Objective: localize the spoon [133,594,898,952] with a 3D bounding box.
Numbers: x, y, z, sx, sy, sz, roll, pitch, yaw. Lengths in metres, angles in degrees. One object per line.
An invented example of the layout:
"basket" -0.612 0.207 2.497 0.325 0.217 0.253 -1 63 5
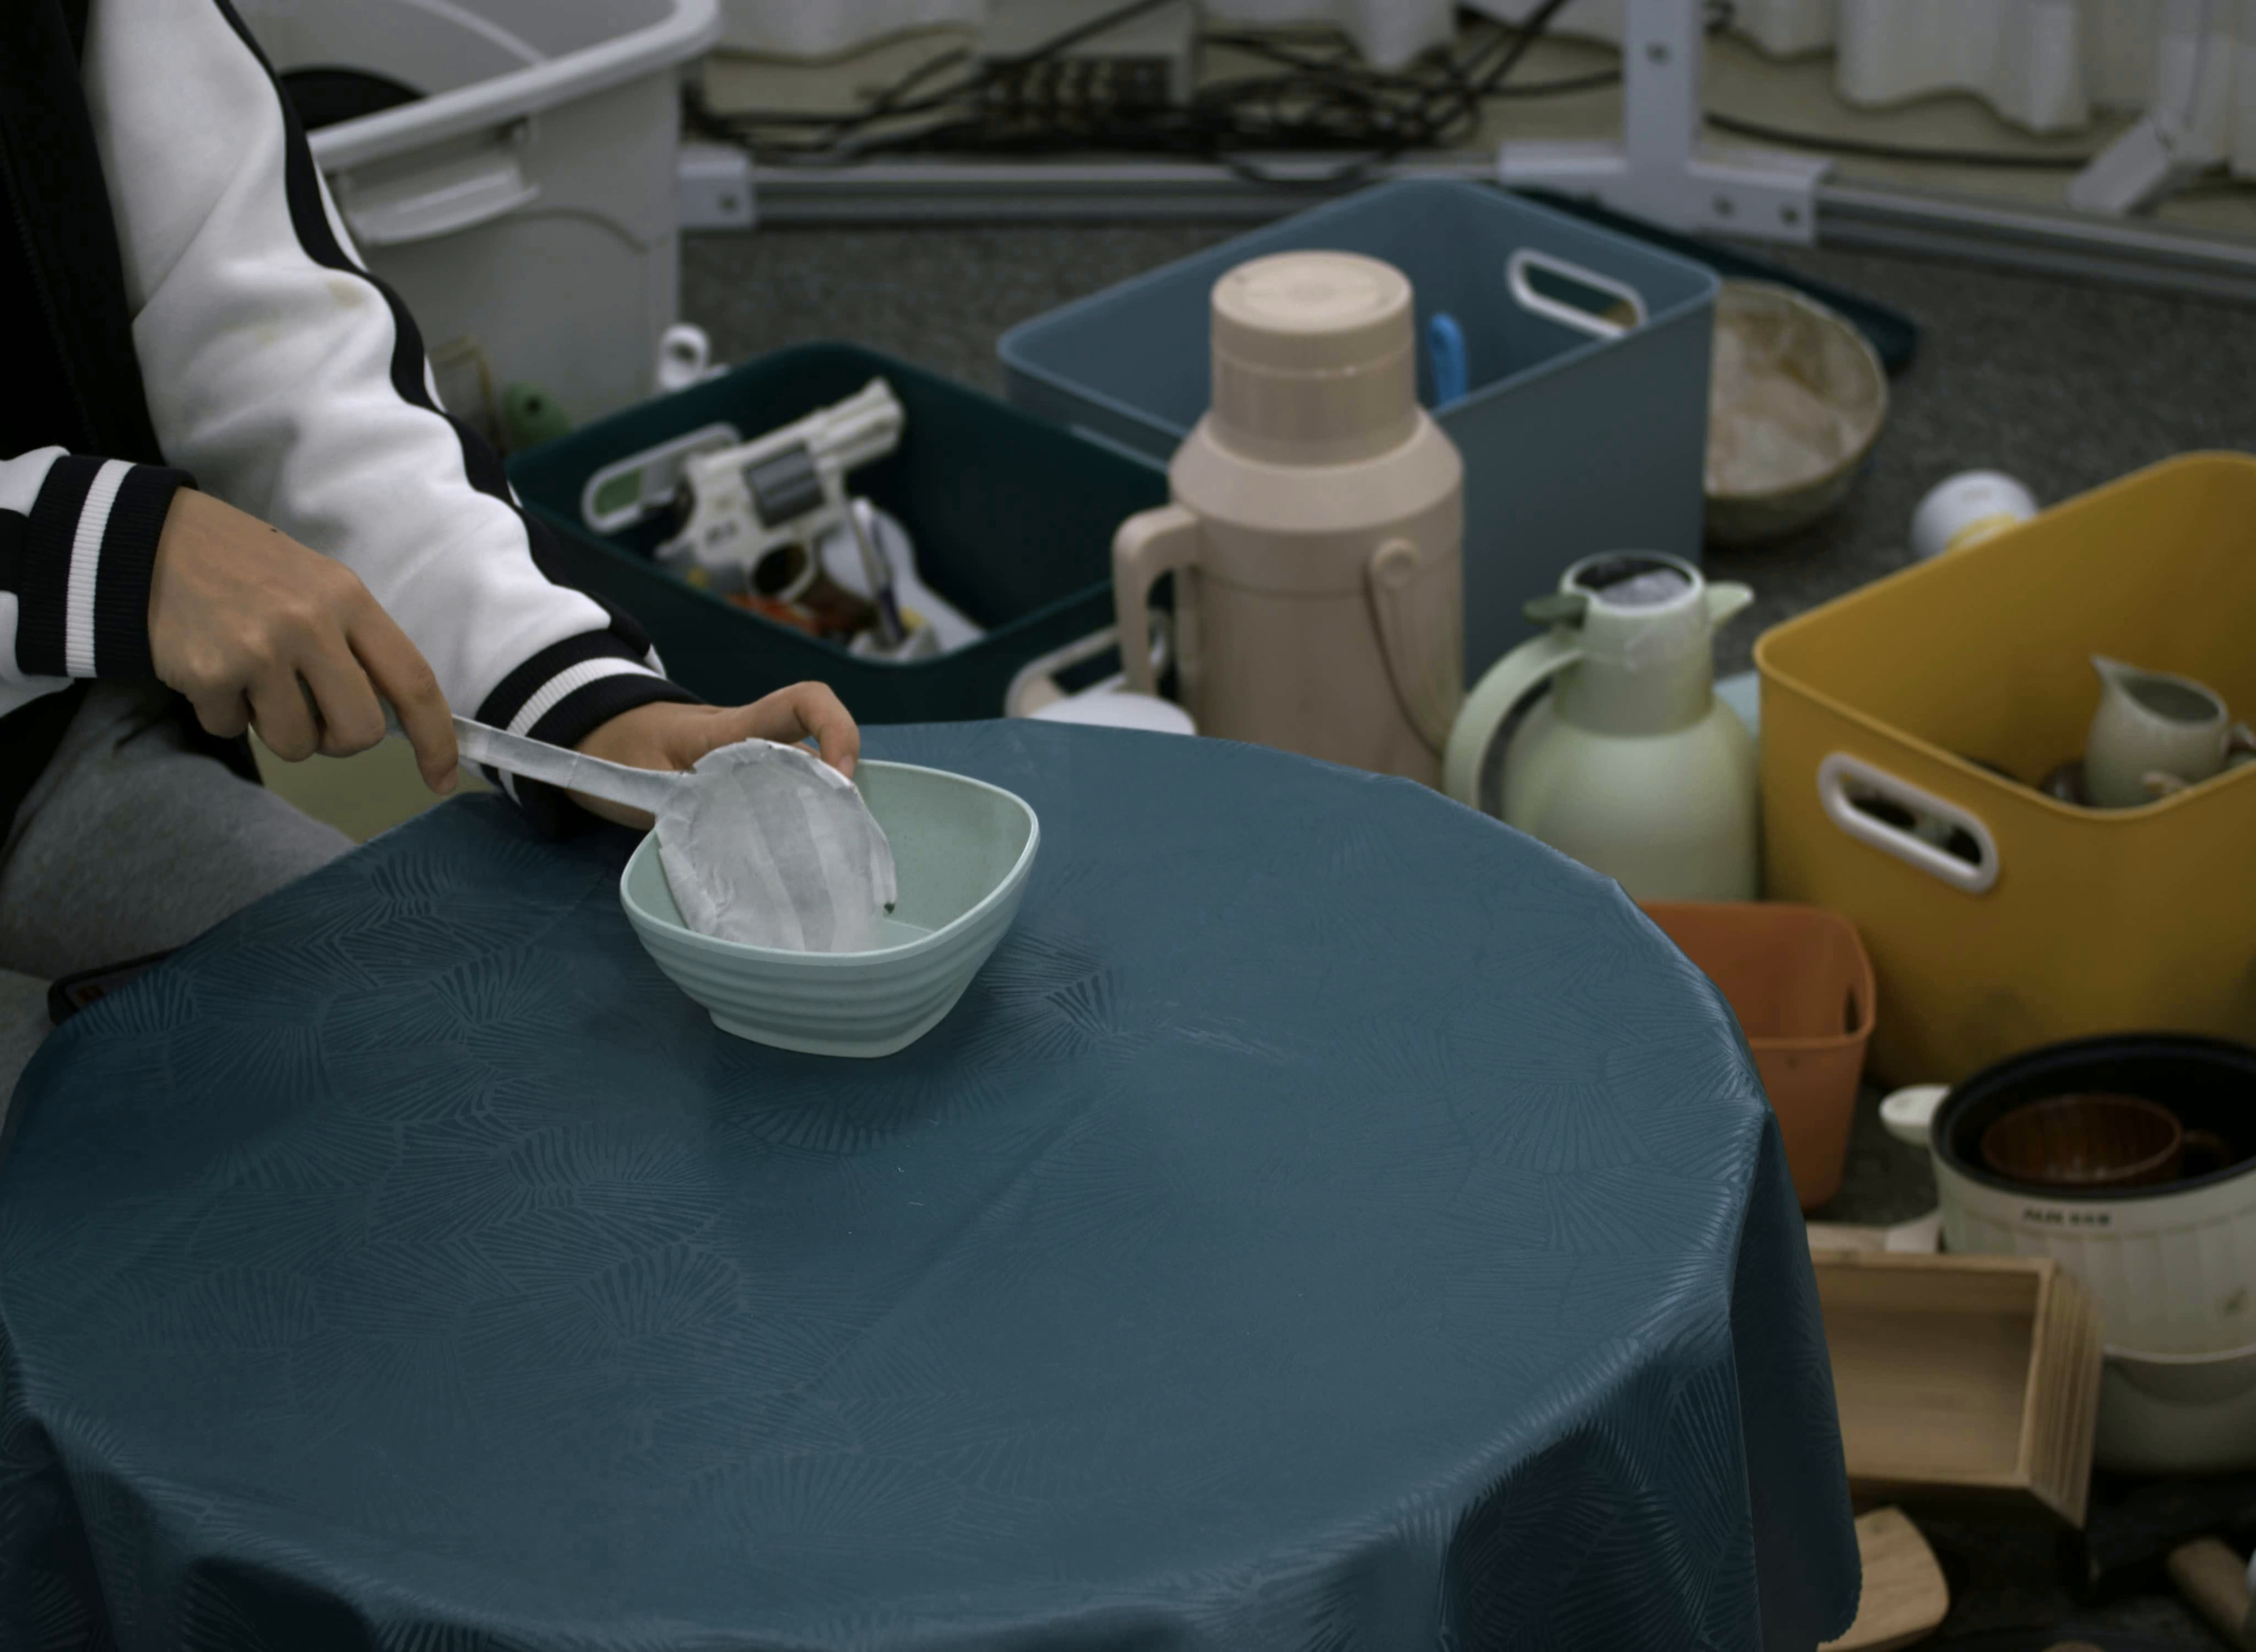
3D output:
"spoon" -0.209 -0.021 1.934 0.276 0.099 0.060 20 23 -19

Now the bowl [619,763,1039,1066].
"bowl" -0.103 0.037 1.979 0.151 0.058 0.154 -2 28 2
